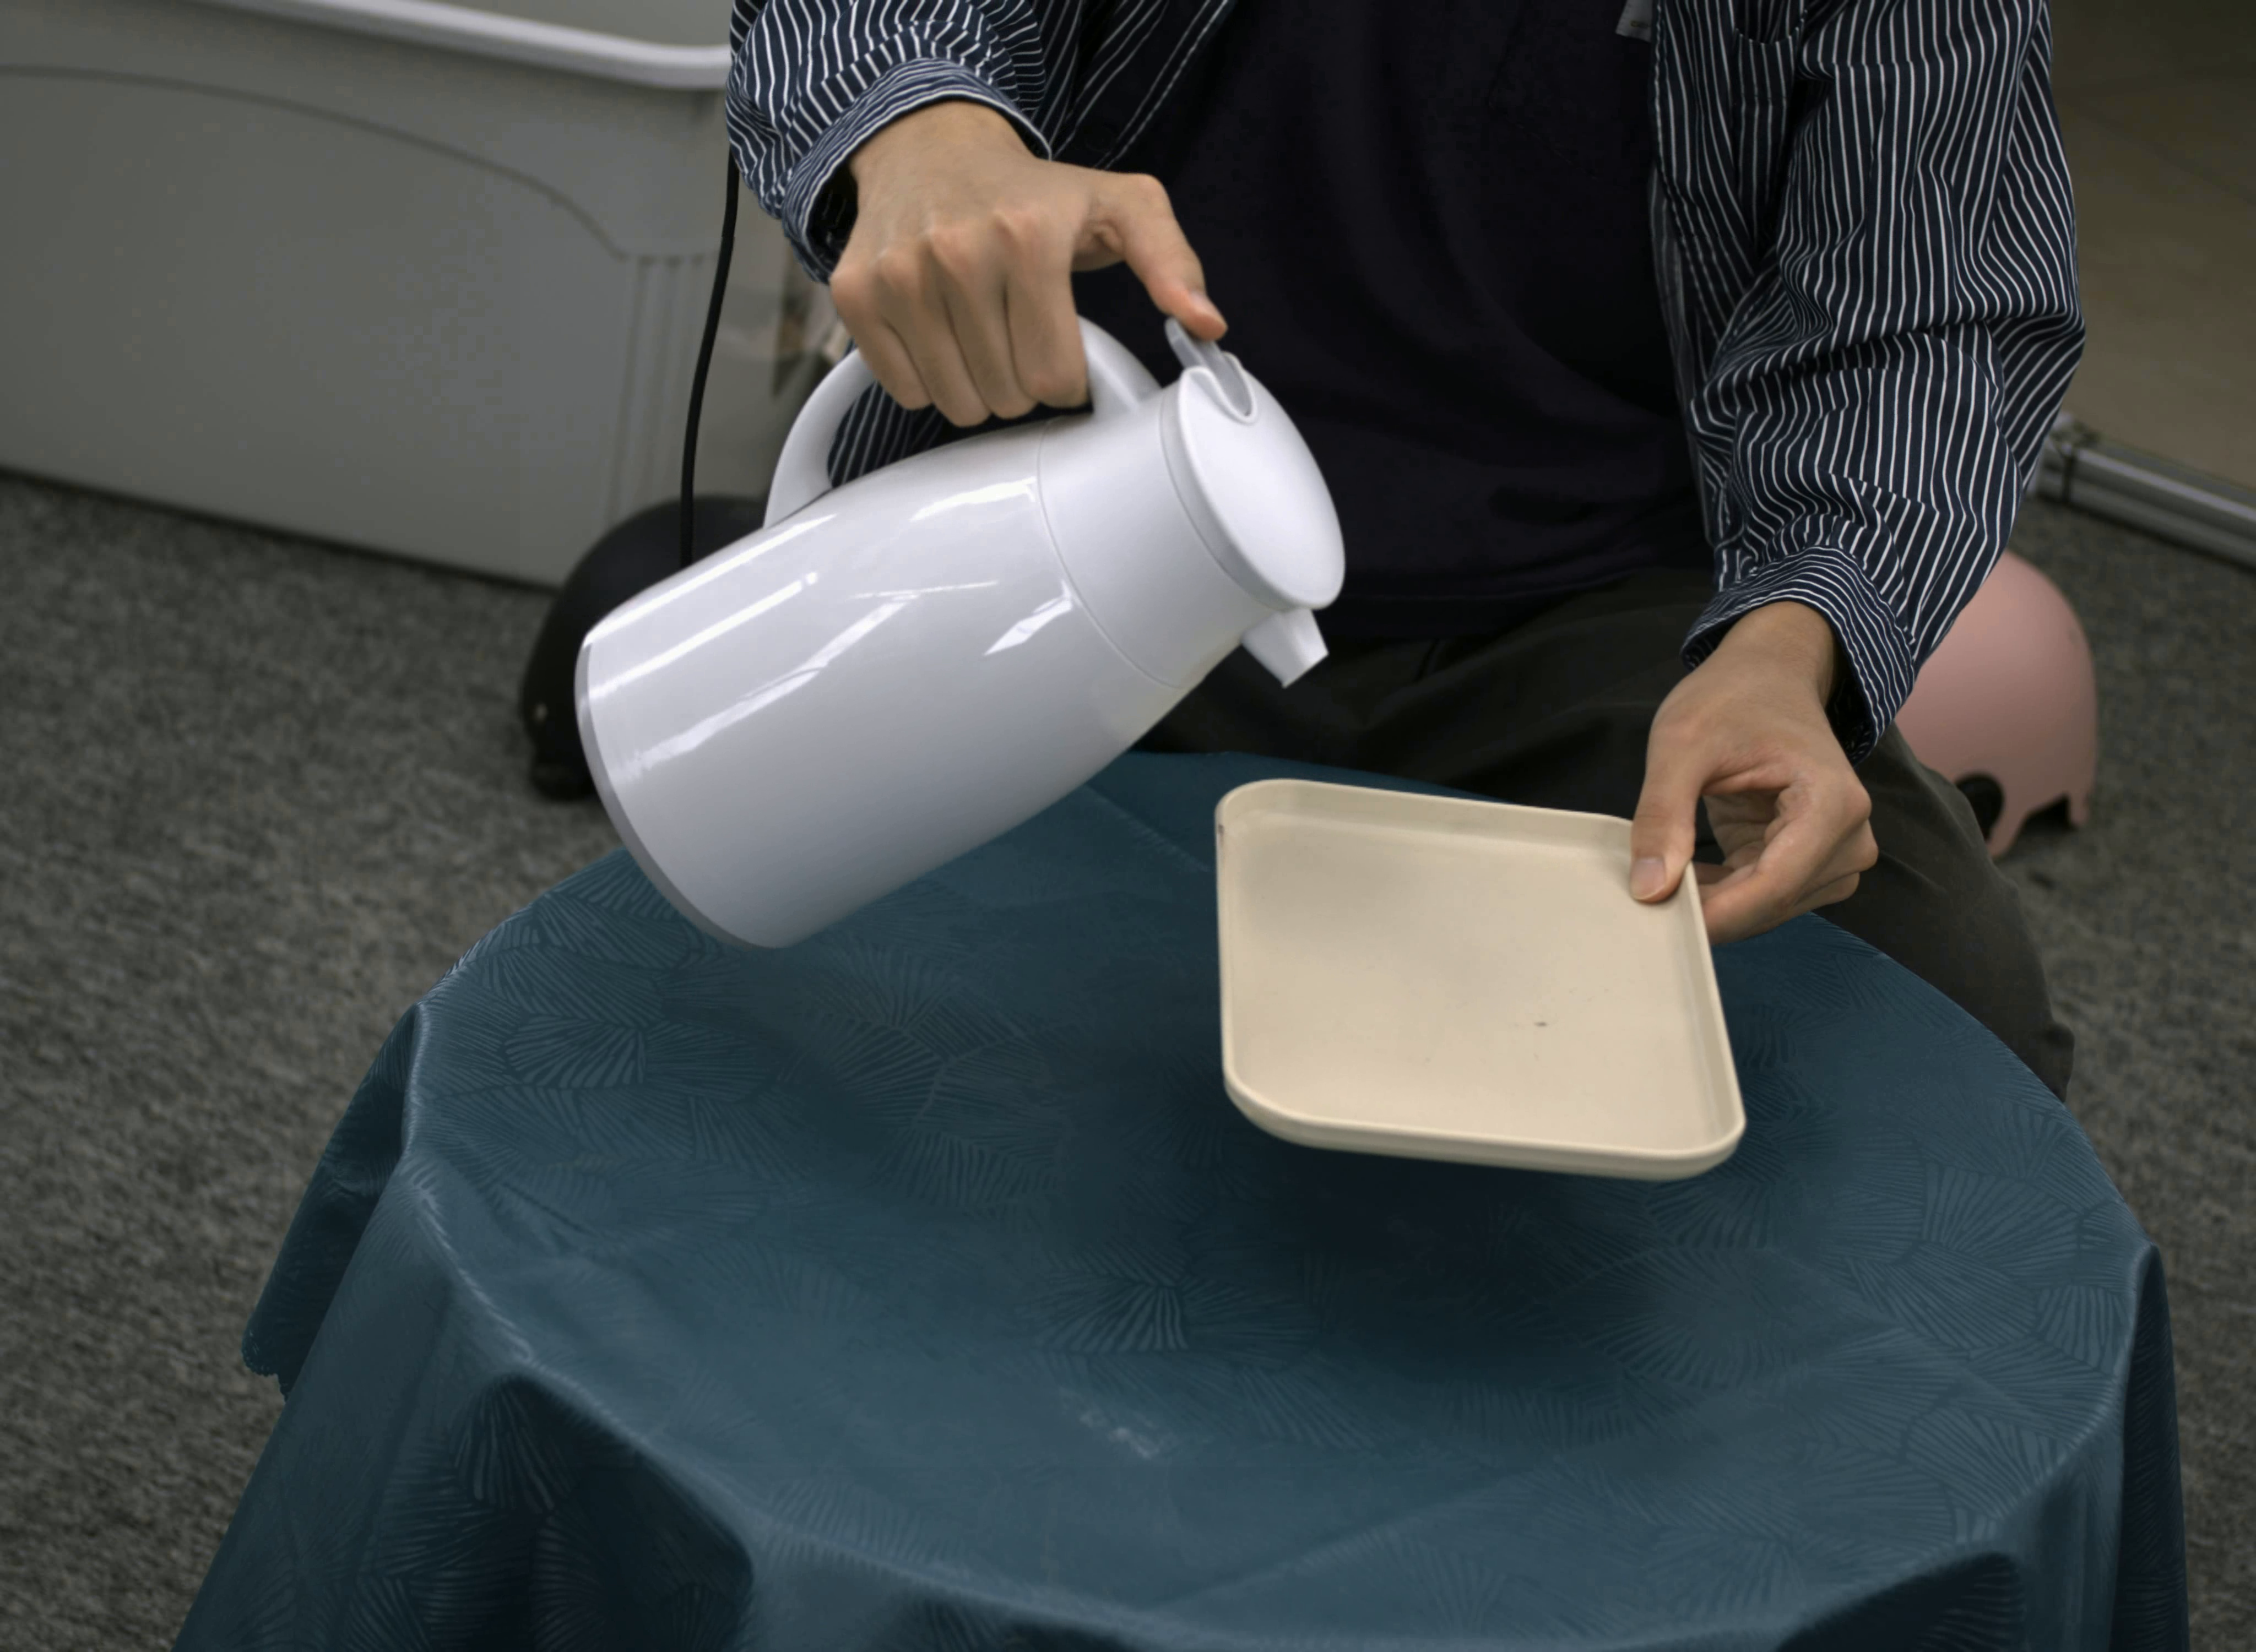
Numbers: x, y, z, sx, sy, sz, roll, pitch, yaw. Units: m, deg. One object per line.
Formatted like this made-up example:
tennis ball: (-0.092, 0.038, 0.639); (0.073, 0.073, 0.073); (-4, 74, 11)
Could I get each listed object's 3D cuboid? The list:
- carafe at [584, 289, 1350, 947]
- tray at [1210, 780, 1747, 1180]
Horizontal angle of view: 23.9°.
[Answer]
carafe: (-0.057, -0.084, 1.778); (0.249, 0.167, 0.132); (-28, 8, 27)
tray: (0.113, 0.051, 1.782); (0.171, 0.017, 0.241); (6, 26, -3)
